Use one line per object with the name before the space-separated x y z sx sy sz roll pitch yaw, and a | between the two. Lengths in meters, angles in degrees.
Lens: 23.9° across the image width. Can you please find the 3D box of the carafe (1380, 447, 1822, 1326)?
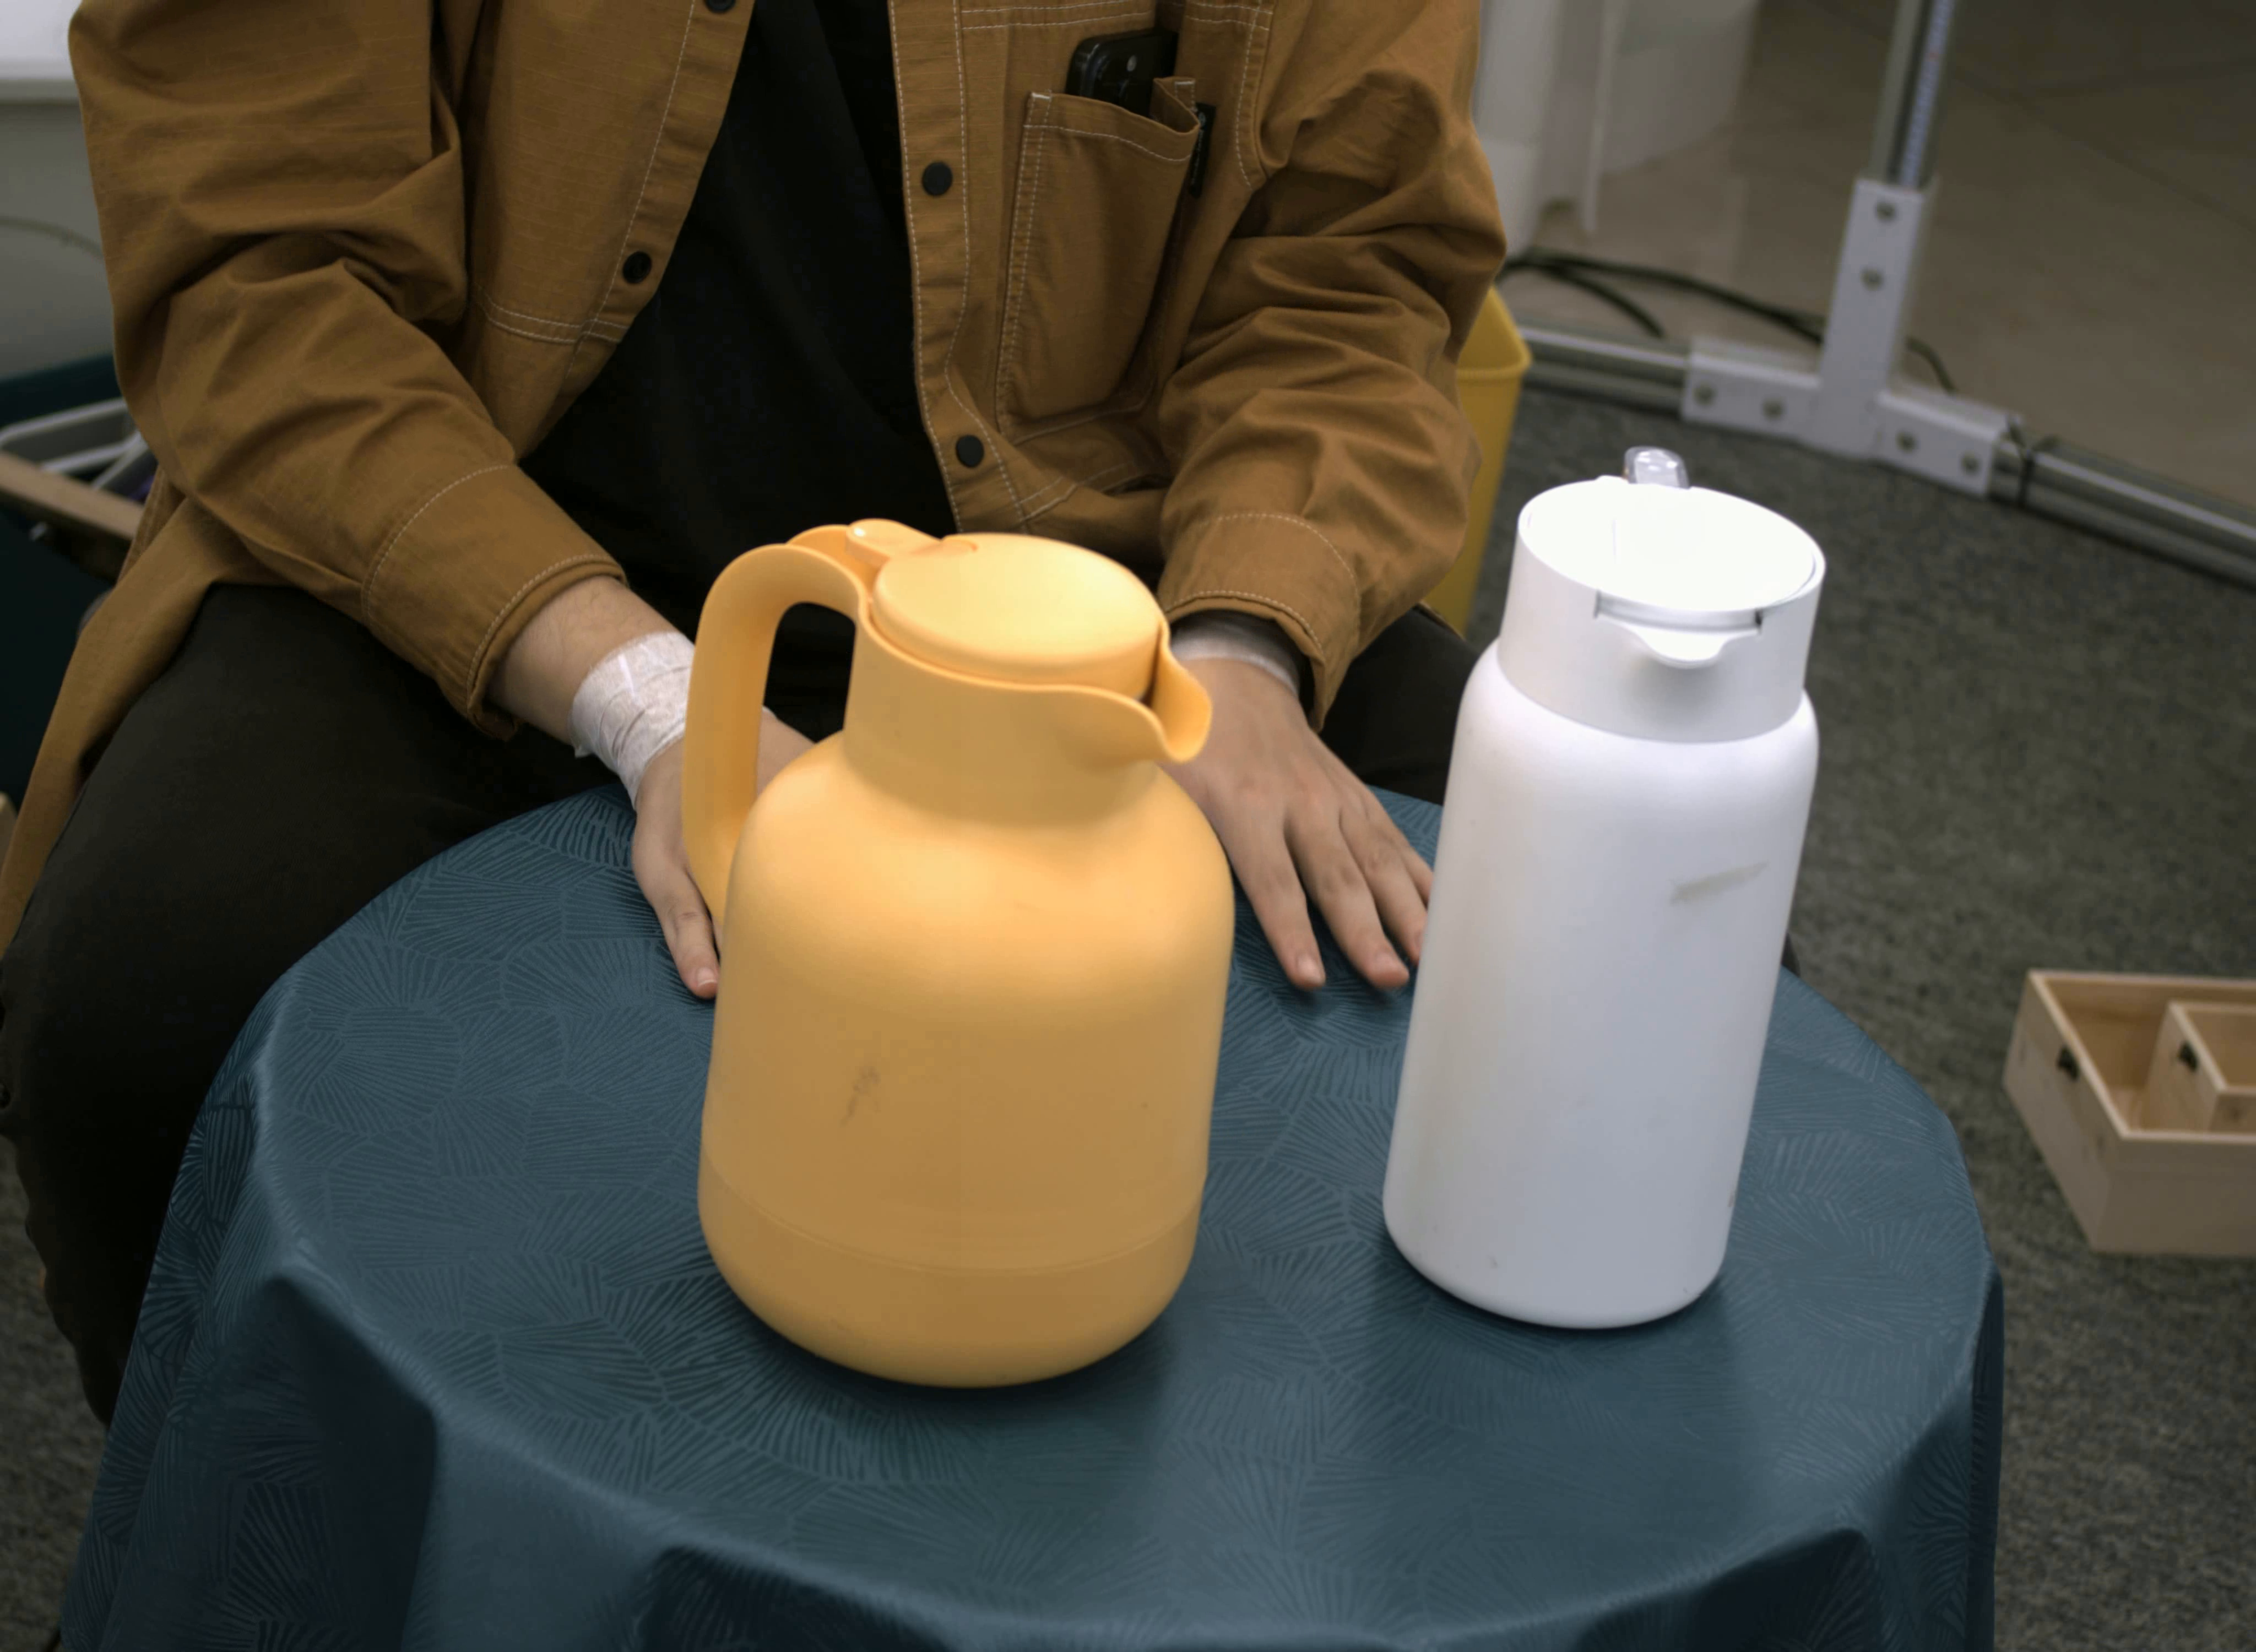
carafe | 0.155 0.016 1.757 0.123 0.268 0.174 4 26 -2

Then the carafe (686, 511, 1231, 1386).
carafe | -0.062 0.029 1.690 0.204 0.260 0.162 29 31 35
